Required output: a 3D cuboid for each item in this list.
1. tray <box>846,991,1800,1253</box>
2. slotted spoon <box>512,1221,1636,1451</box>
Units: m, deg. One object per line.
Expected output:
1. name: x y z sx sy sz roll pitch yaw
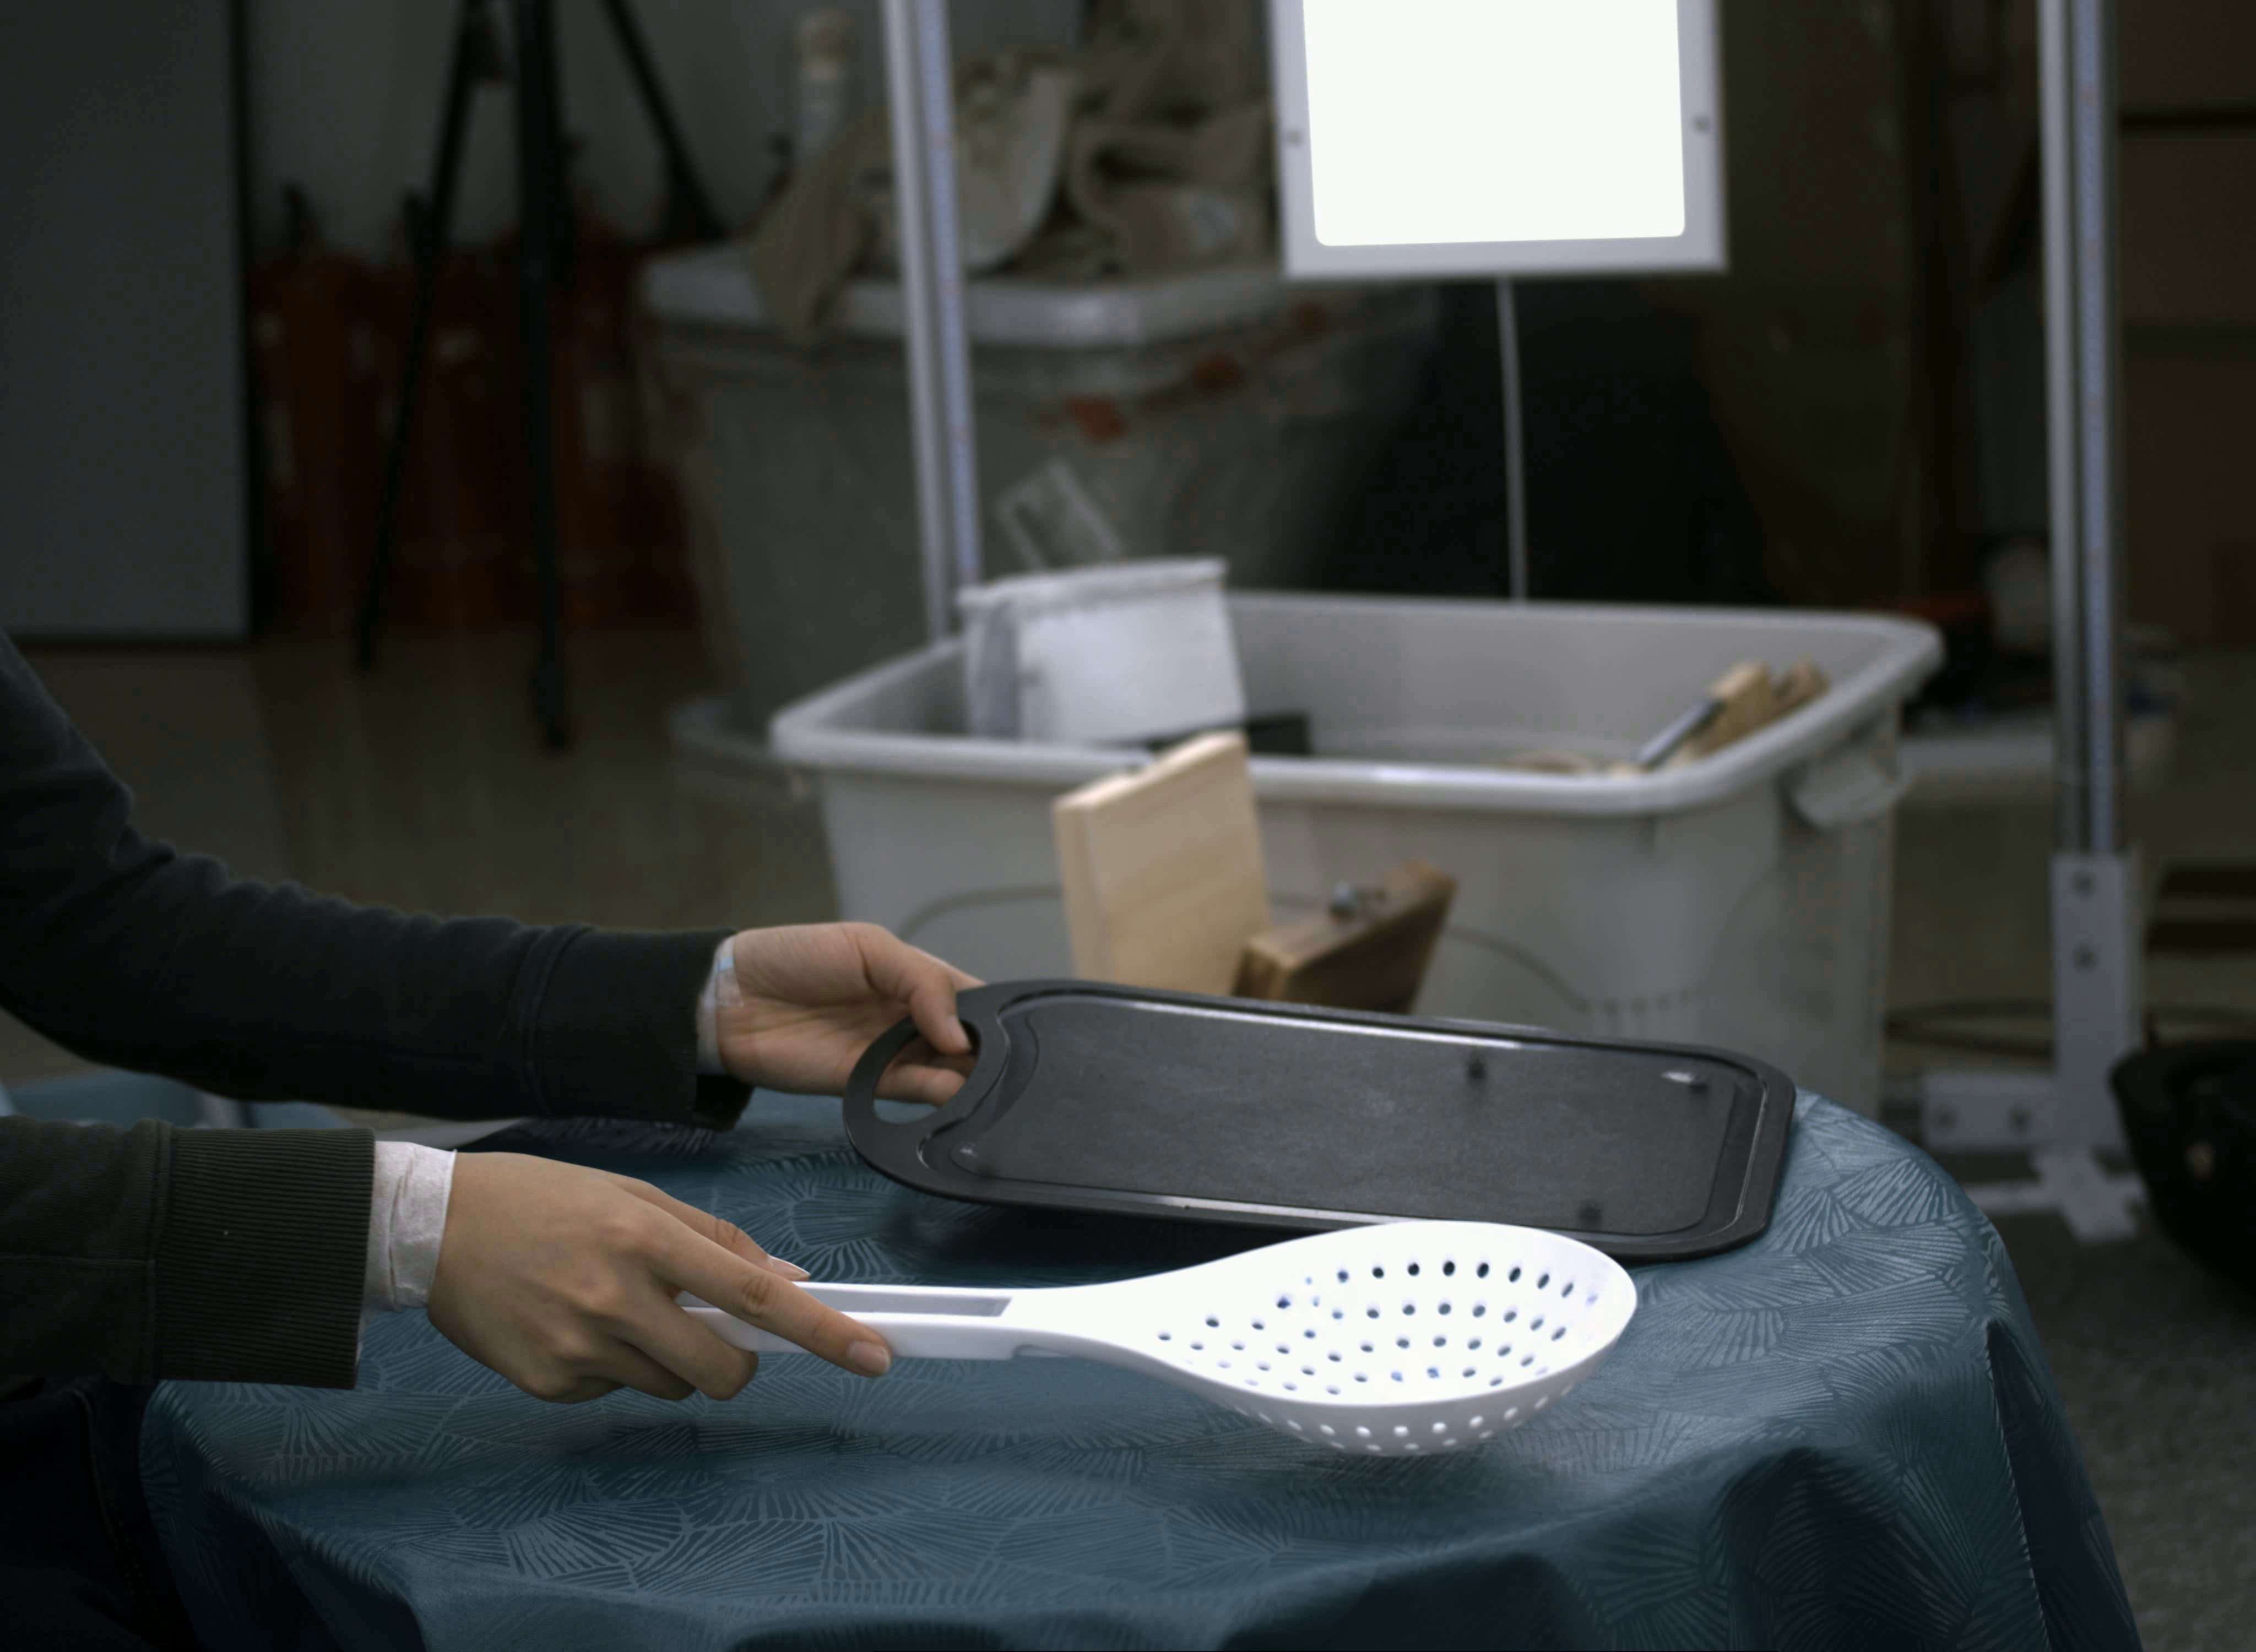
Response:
1. tray: 0.065 0.098 1.894 0.328 0.010 0.208 4 18 12
2. slotted spoon: -0.021 0.148 1.656 0.353 0.046 0.134 4 19 17
